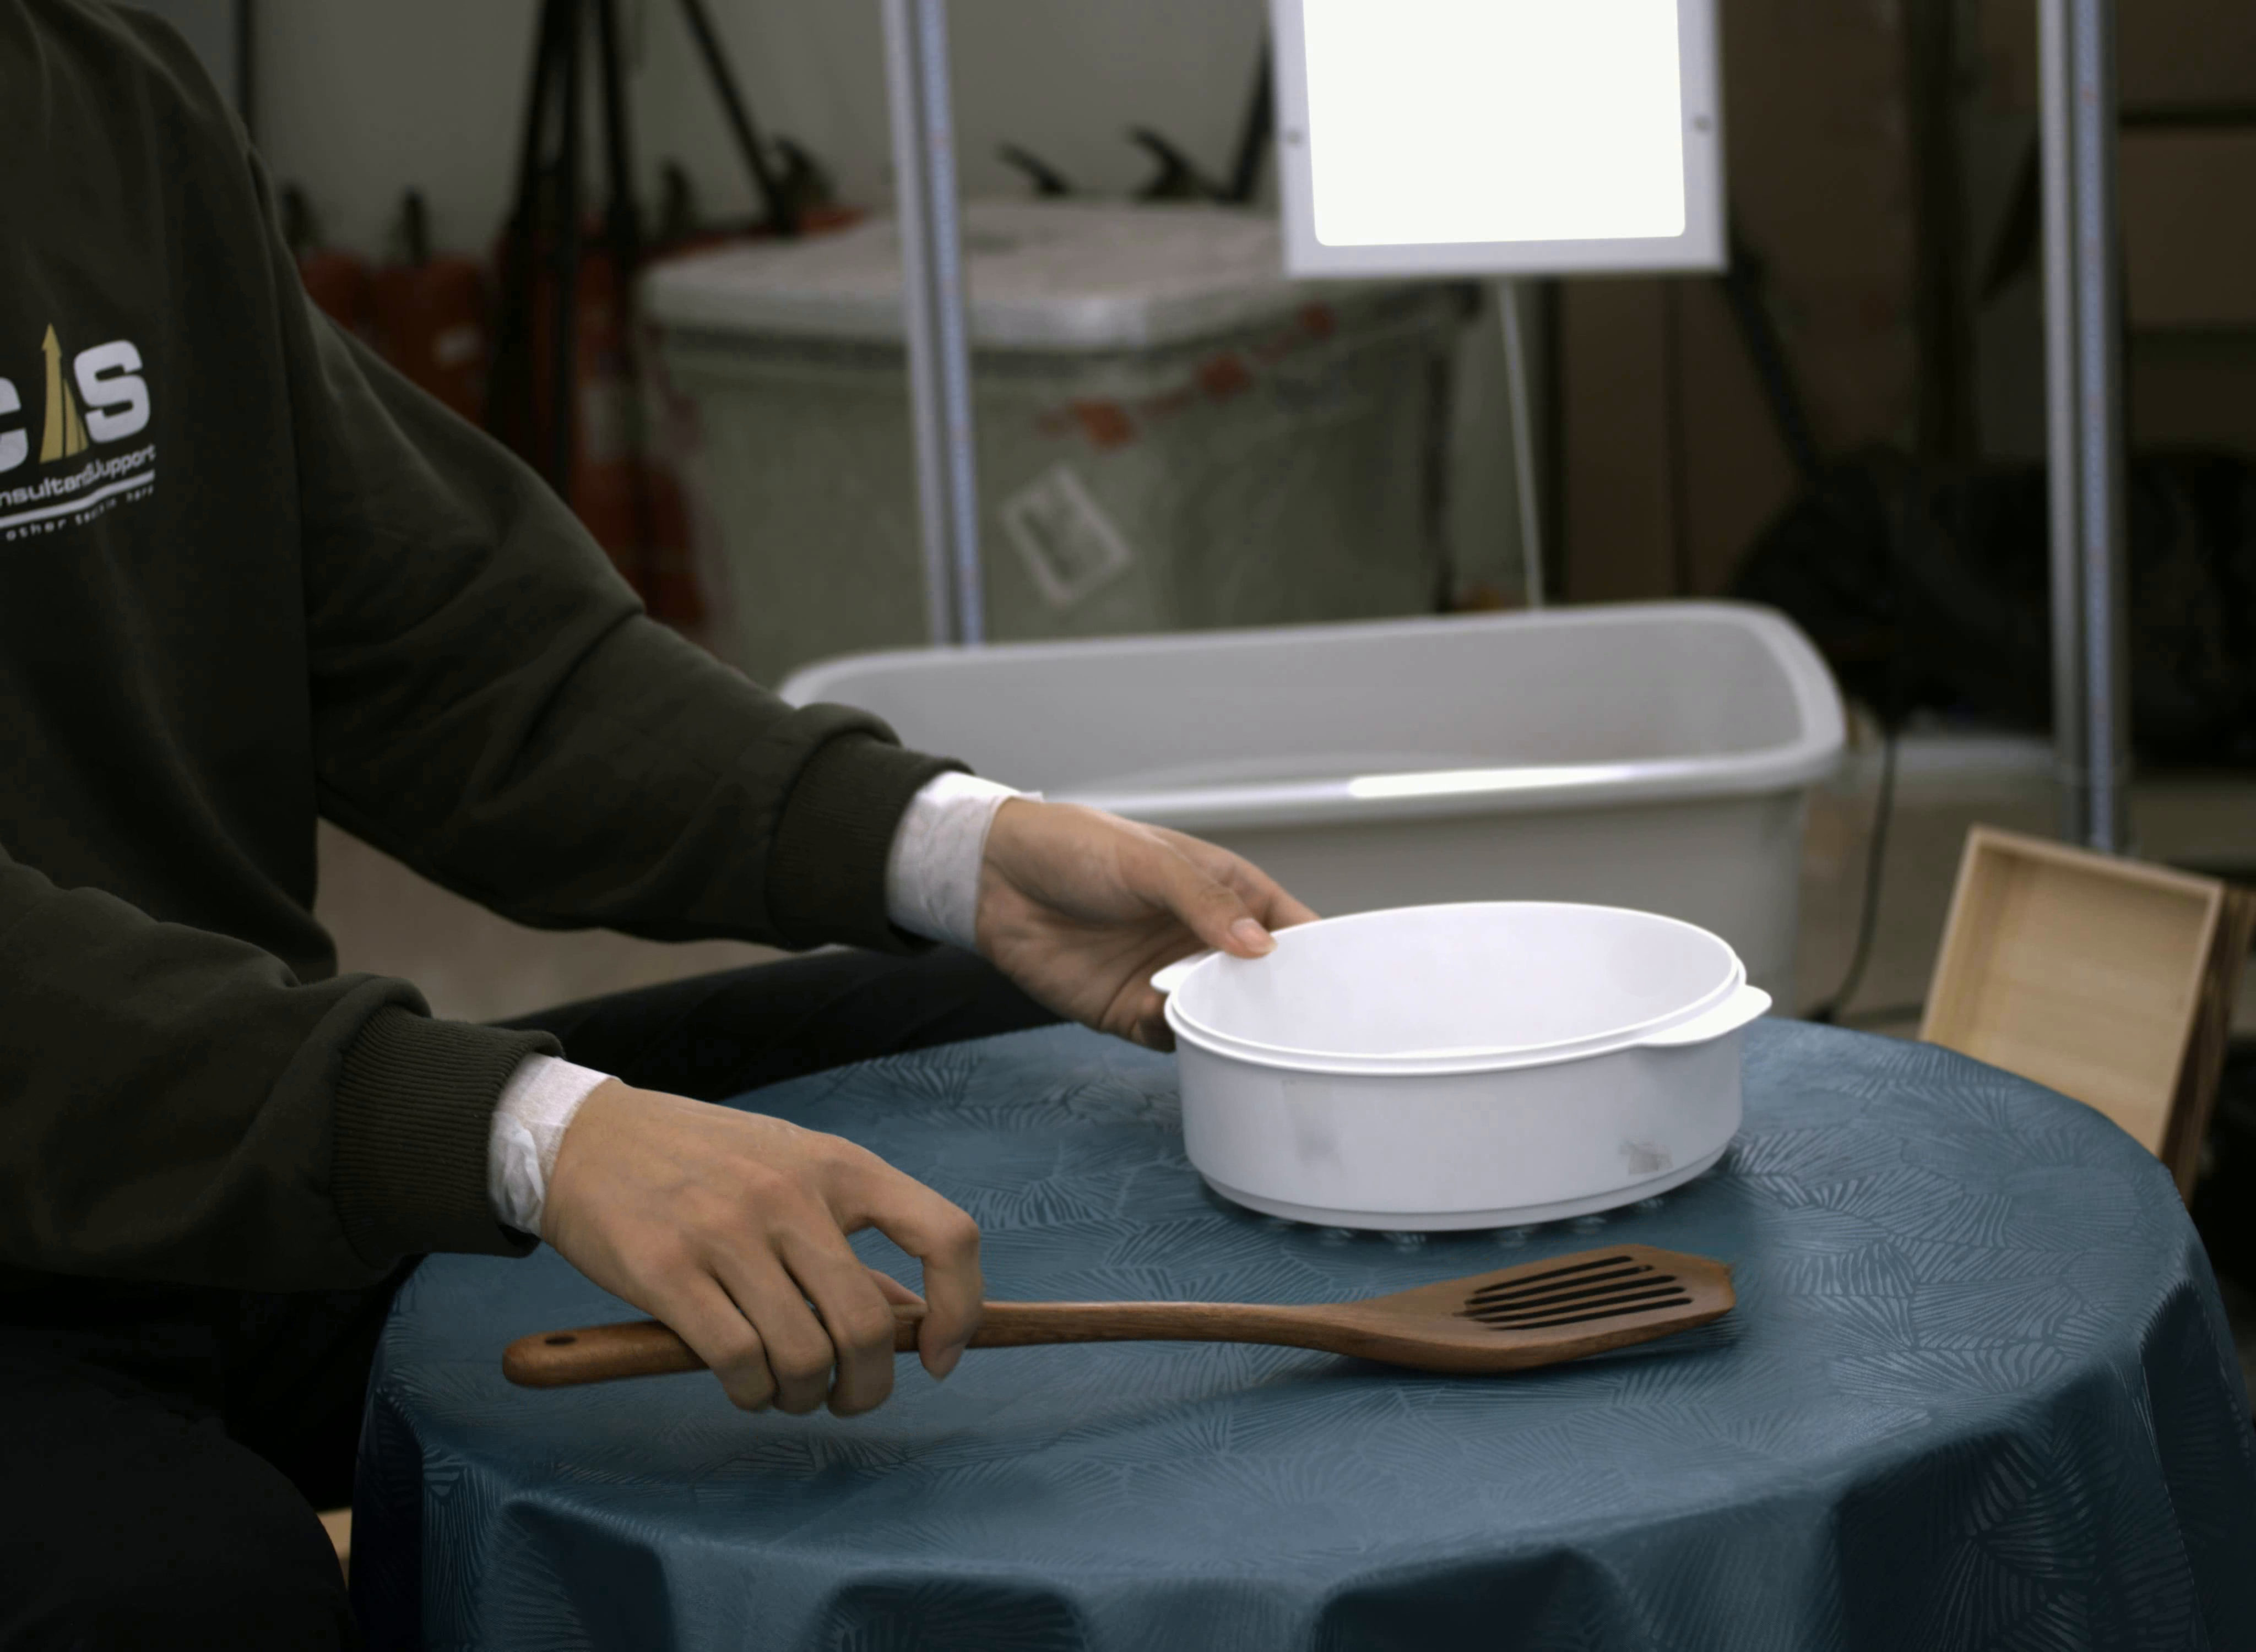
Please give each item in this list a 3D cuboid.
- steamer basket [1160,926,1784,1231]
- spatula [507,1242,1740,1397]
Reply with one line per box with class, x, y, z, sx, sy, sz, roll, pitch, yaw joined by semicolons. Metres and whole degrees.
steamer basket;0.119;0.087;1.892;0.235;0.069;0.197;1;12;37
spatula;0.001;0.157;1.687;0.380;0.024;0.086;-2;11;-12
